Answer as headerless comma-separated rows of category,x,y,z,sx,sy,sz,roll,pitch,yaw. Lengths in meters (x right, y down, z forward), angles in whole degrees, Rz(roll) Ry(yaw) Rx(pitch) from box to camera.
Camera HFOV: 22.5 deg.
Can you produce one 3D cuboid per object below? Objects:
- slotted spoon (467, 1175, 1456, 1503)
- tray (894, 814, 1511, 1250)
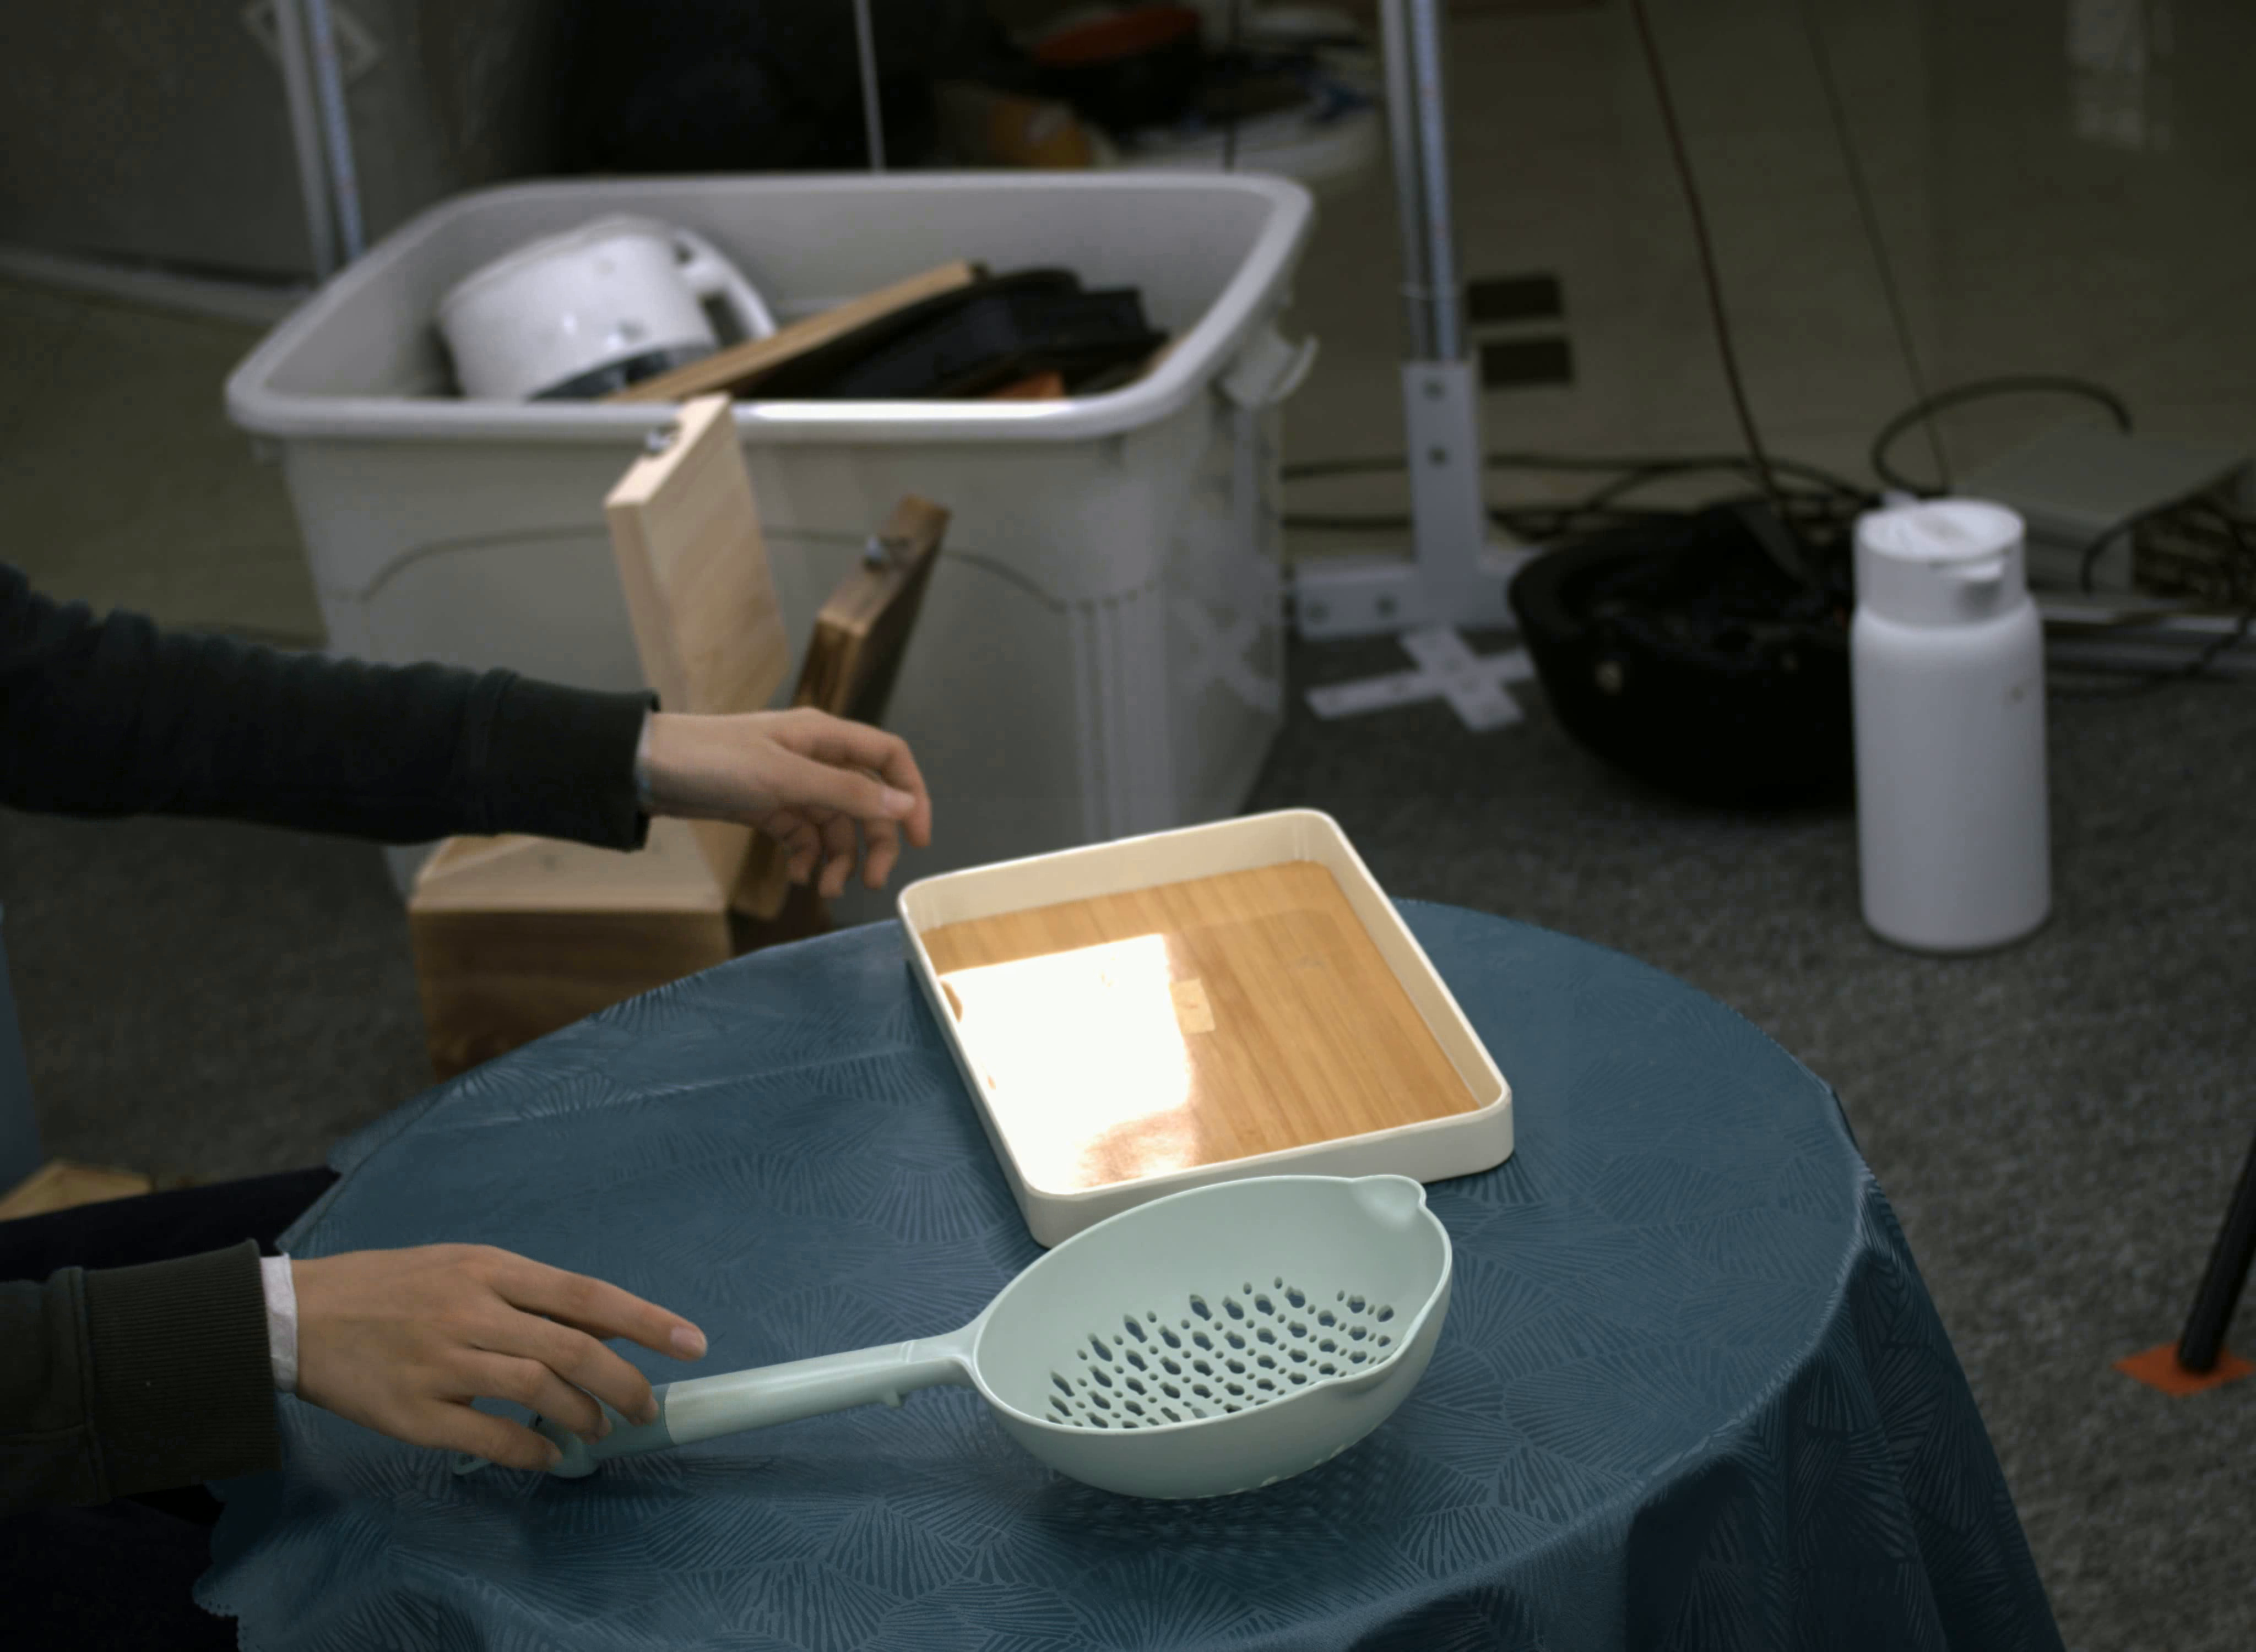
slotted spoon,-0.062,0.191,1.978,0.358,0.076,0.167,-2,25,8
tray,0.024,0.077,2.248,0.191,0.028,0.296,-10,25,-9
